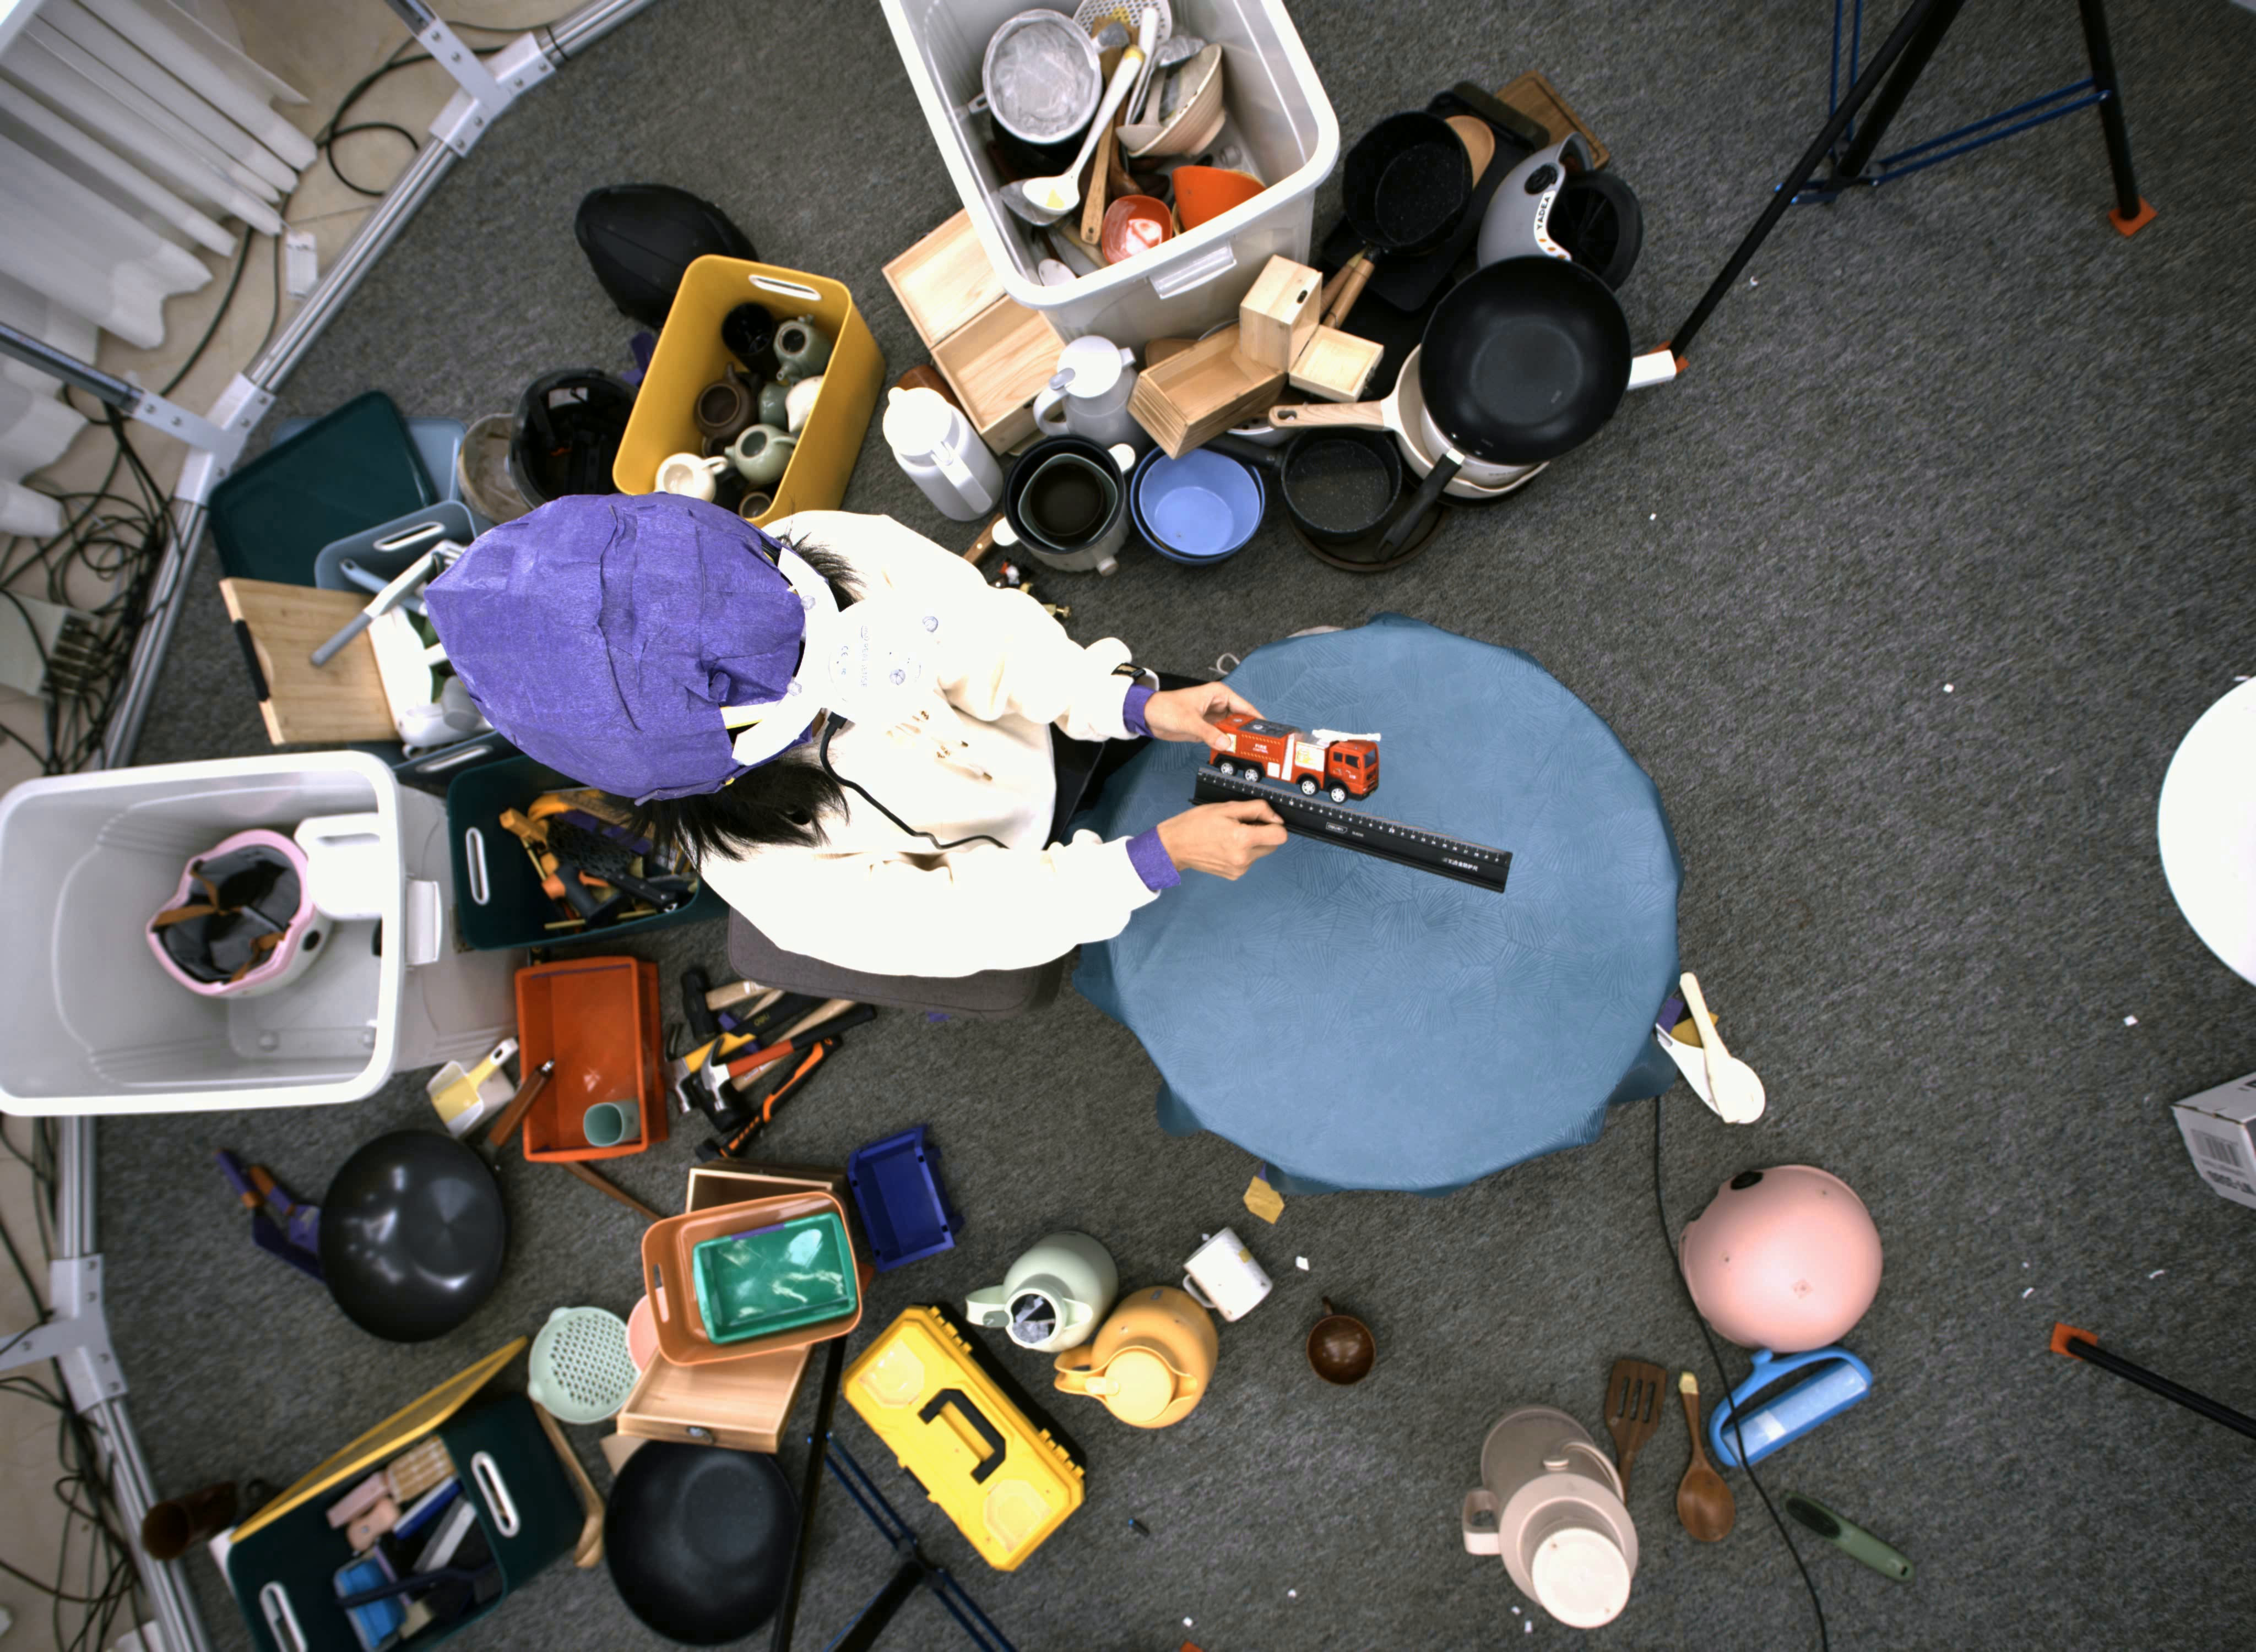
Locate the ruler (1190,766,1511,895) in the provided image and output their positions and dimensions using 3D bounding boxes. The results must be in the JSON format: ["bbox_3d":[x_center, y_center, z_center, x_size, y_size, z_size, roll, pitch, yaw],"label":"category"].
[{"bbox_3d":[0.199,0.002,1.277,0.312,0.017,0.040,18,112,24],"label":"ruler"}]

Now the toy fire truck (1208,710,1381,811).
[{"bbox_3d":[0.159,-0.066,1.307,0.168,0.053,0.071,13,117,29],"label":"toy fire truck"}]
